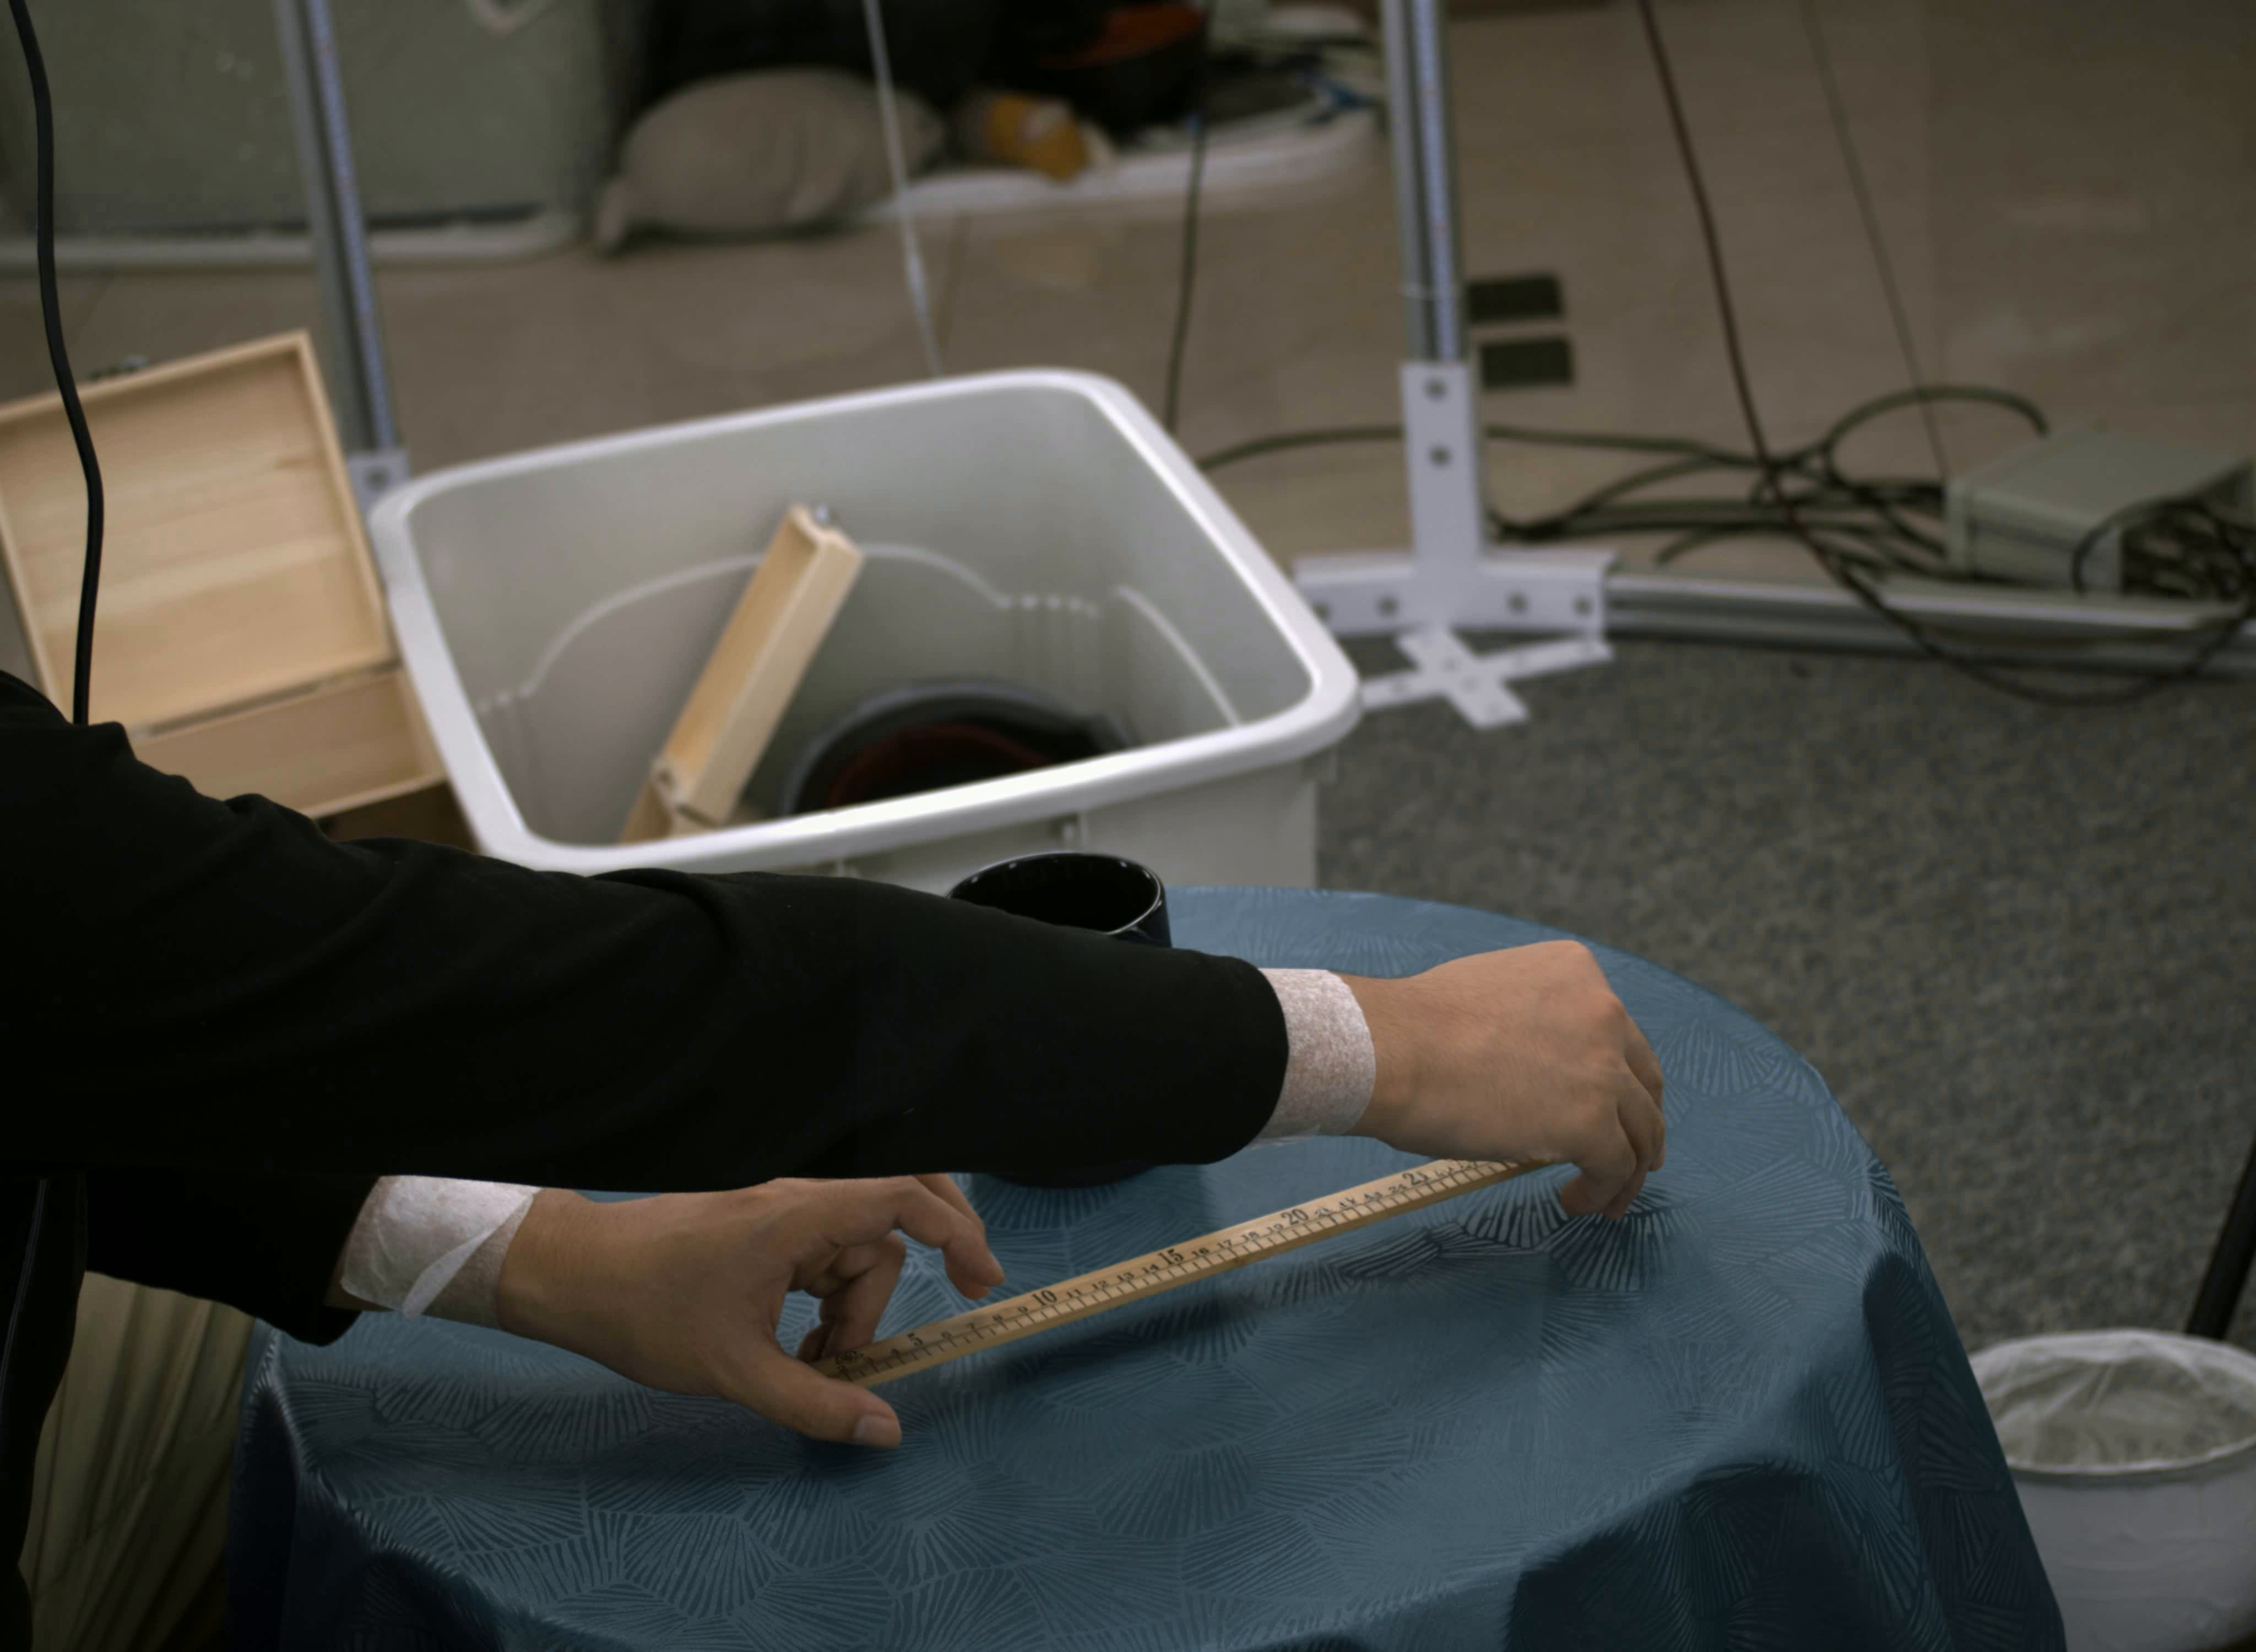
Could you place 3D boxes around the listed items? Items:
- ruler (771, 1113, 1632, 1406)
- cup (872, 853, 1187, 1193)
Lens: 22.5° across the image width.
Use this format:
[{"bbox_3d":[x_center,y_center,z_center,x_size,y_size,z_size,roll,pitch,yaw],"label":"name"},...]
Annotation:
[{"bbox_3d":[0.029,0.153,2.057,0.330,0.022,0.027,-16,21,-16],"label":"ruler"},{"bbox_3d":[-0.040,0.080,2.163,0.123,0.107,0.087,-18,29,-21],"label":"cup"}]
